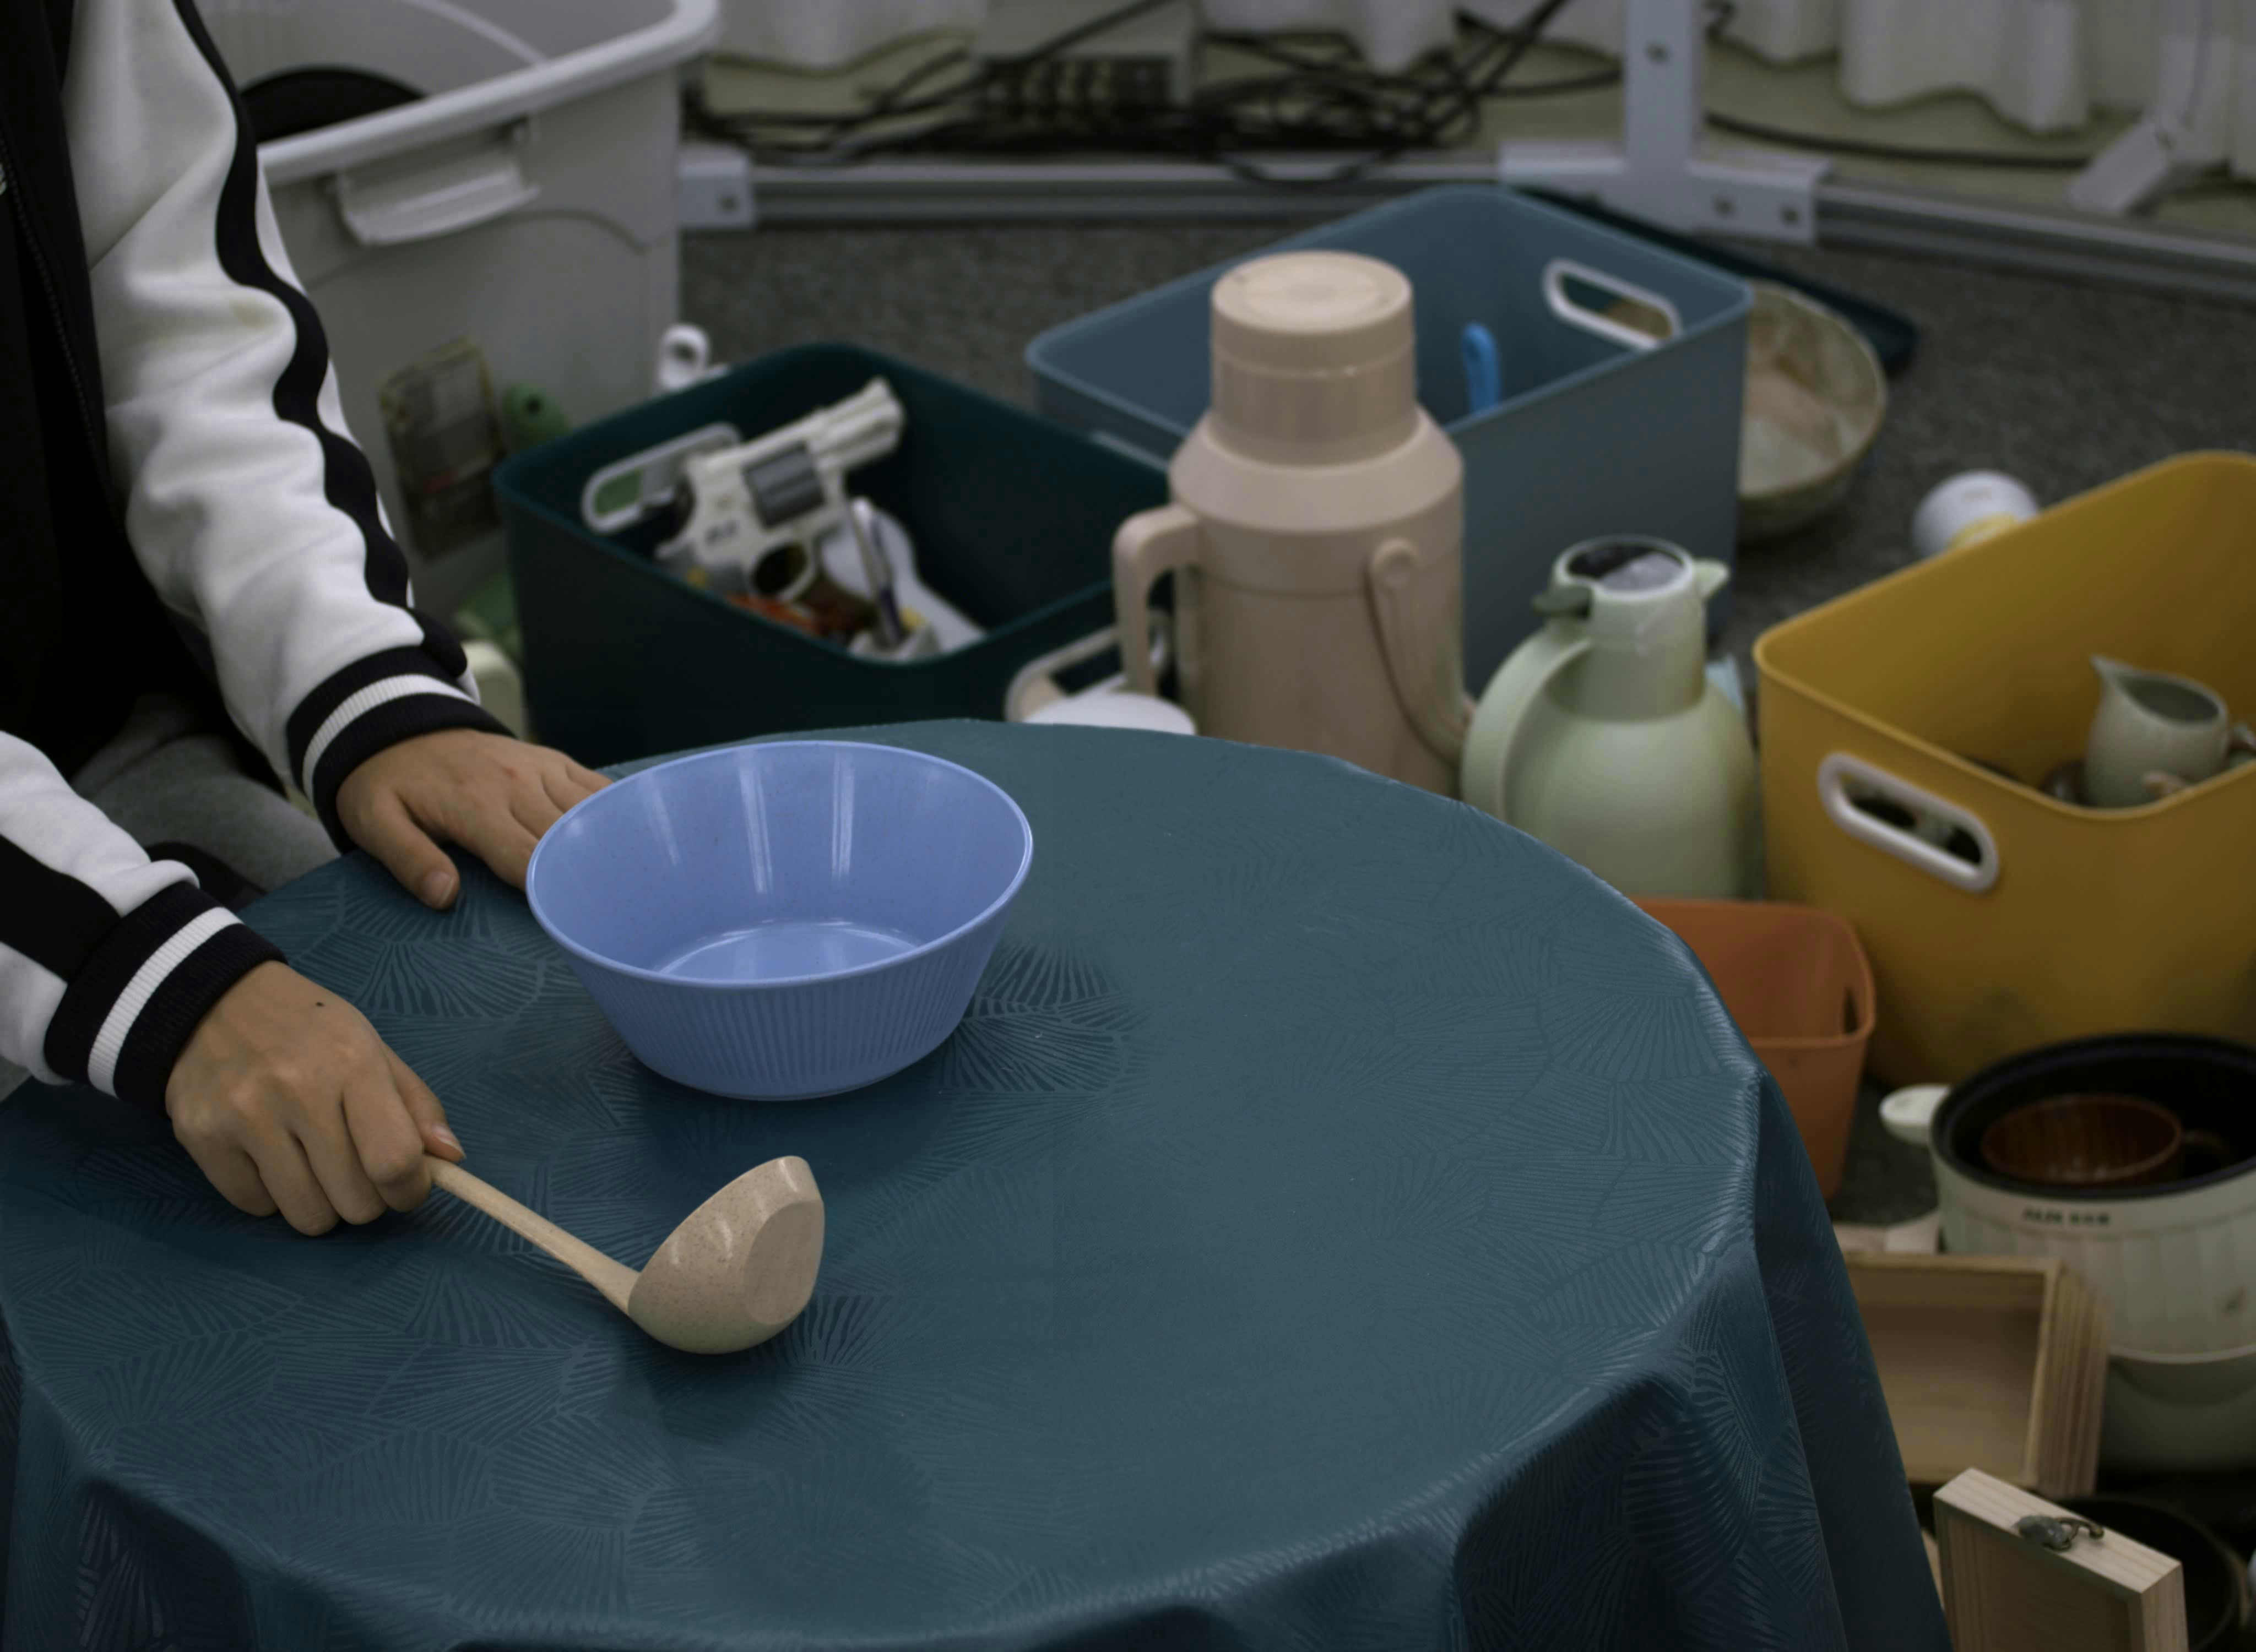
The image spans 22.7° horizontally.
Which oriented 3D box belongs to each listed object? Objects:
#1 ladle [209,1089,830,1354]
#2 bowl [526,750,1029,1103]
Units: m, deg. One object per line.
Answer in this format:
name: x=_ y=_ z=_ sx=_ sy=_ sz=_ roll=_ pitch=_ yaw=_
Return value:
ladle: x=-0.205 y=0.101 z=1.827 sx=0.254 sy=0.072 sz=0.073 roll=22 pitch=25 yaw=32
bowl: x=-0.120 y=0.041 z=1.956 sx=0.175 sy=0.069 sz=0.179 roll=-1 pitch=27 yaw=1
